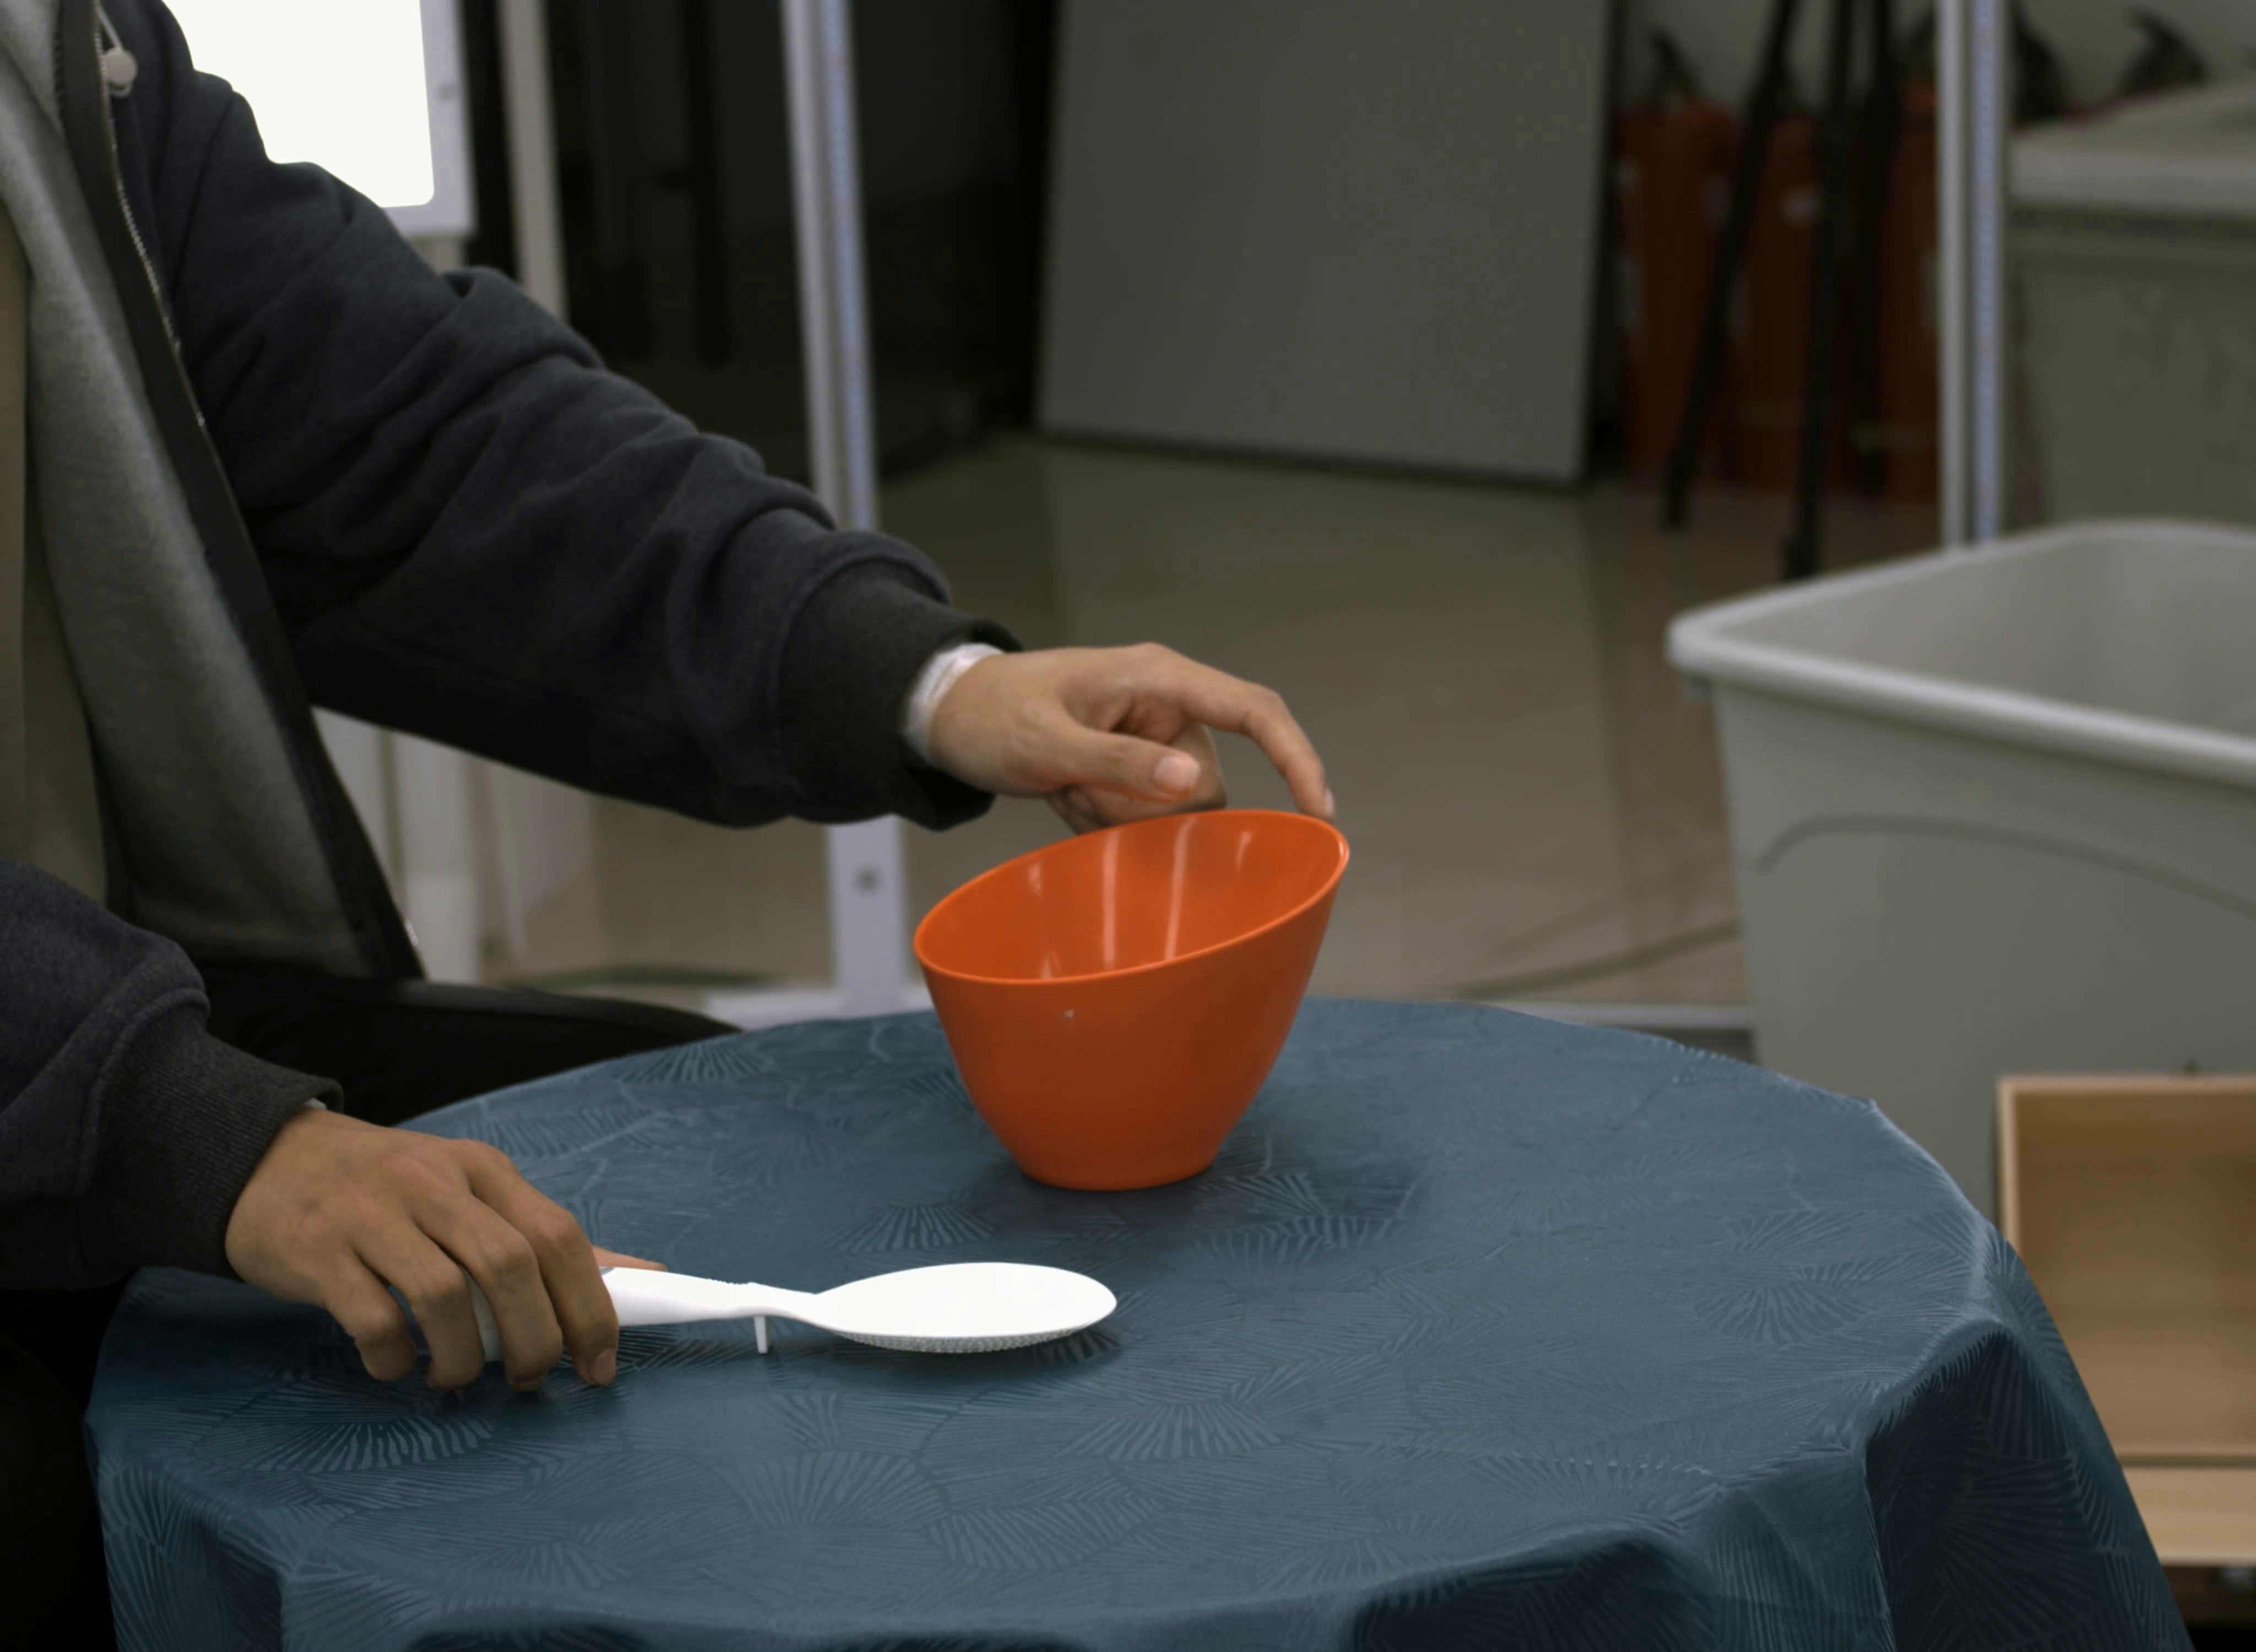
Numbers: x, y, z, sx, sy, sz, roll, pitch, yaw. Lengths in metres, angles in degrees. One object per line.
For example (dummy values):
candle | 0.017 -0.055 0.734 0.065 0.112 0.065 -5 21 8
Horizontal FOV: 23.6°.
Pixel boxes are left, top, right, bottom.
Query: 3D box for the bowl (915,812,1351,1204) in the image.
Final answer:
bowl | 0.005 0.063 1.791 0.146 0.106 0.148 -4 15 0

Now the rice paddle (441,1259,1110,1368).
rice paddle | -0.106 0.145 1.638 0.203 0.030 0.068 -2 14 7
